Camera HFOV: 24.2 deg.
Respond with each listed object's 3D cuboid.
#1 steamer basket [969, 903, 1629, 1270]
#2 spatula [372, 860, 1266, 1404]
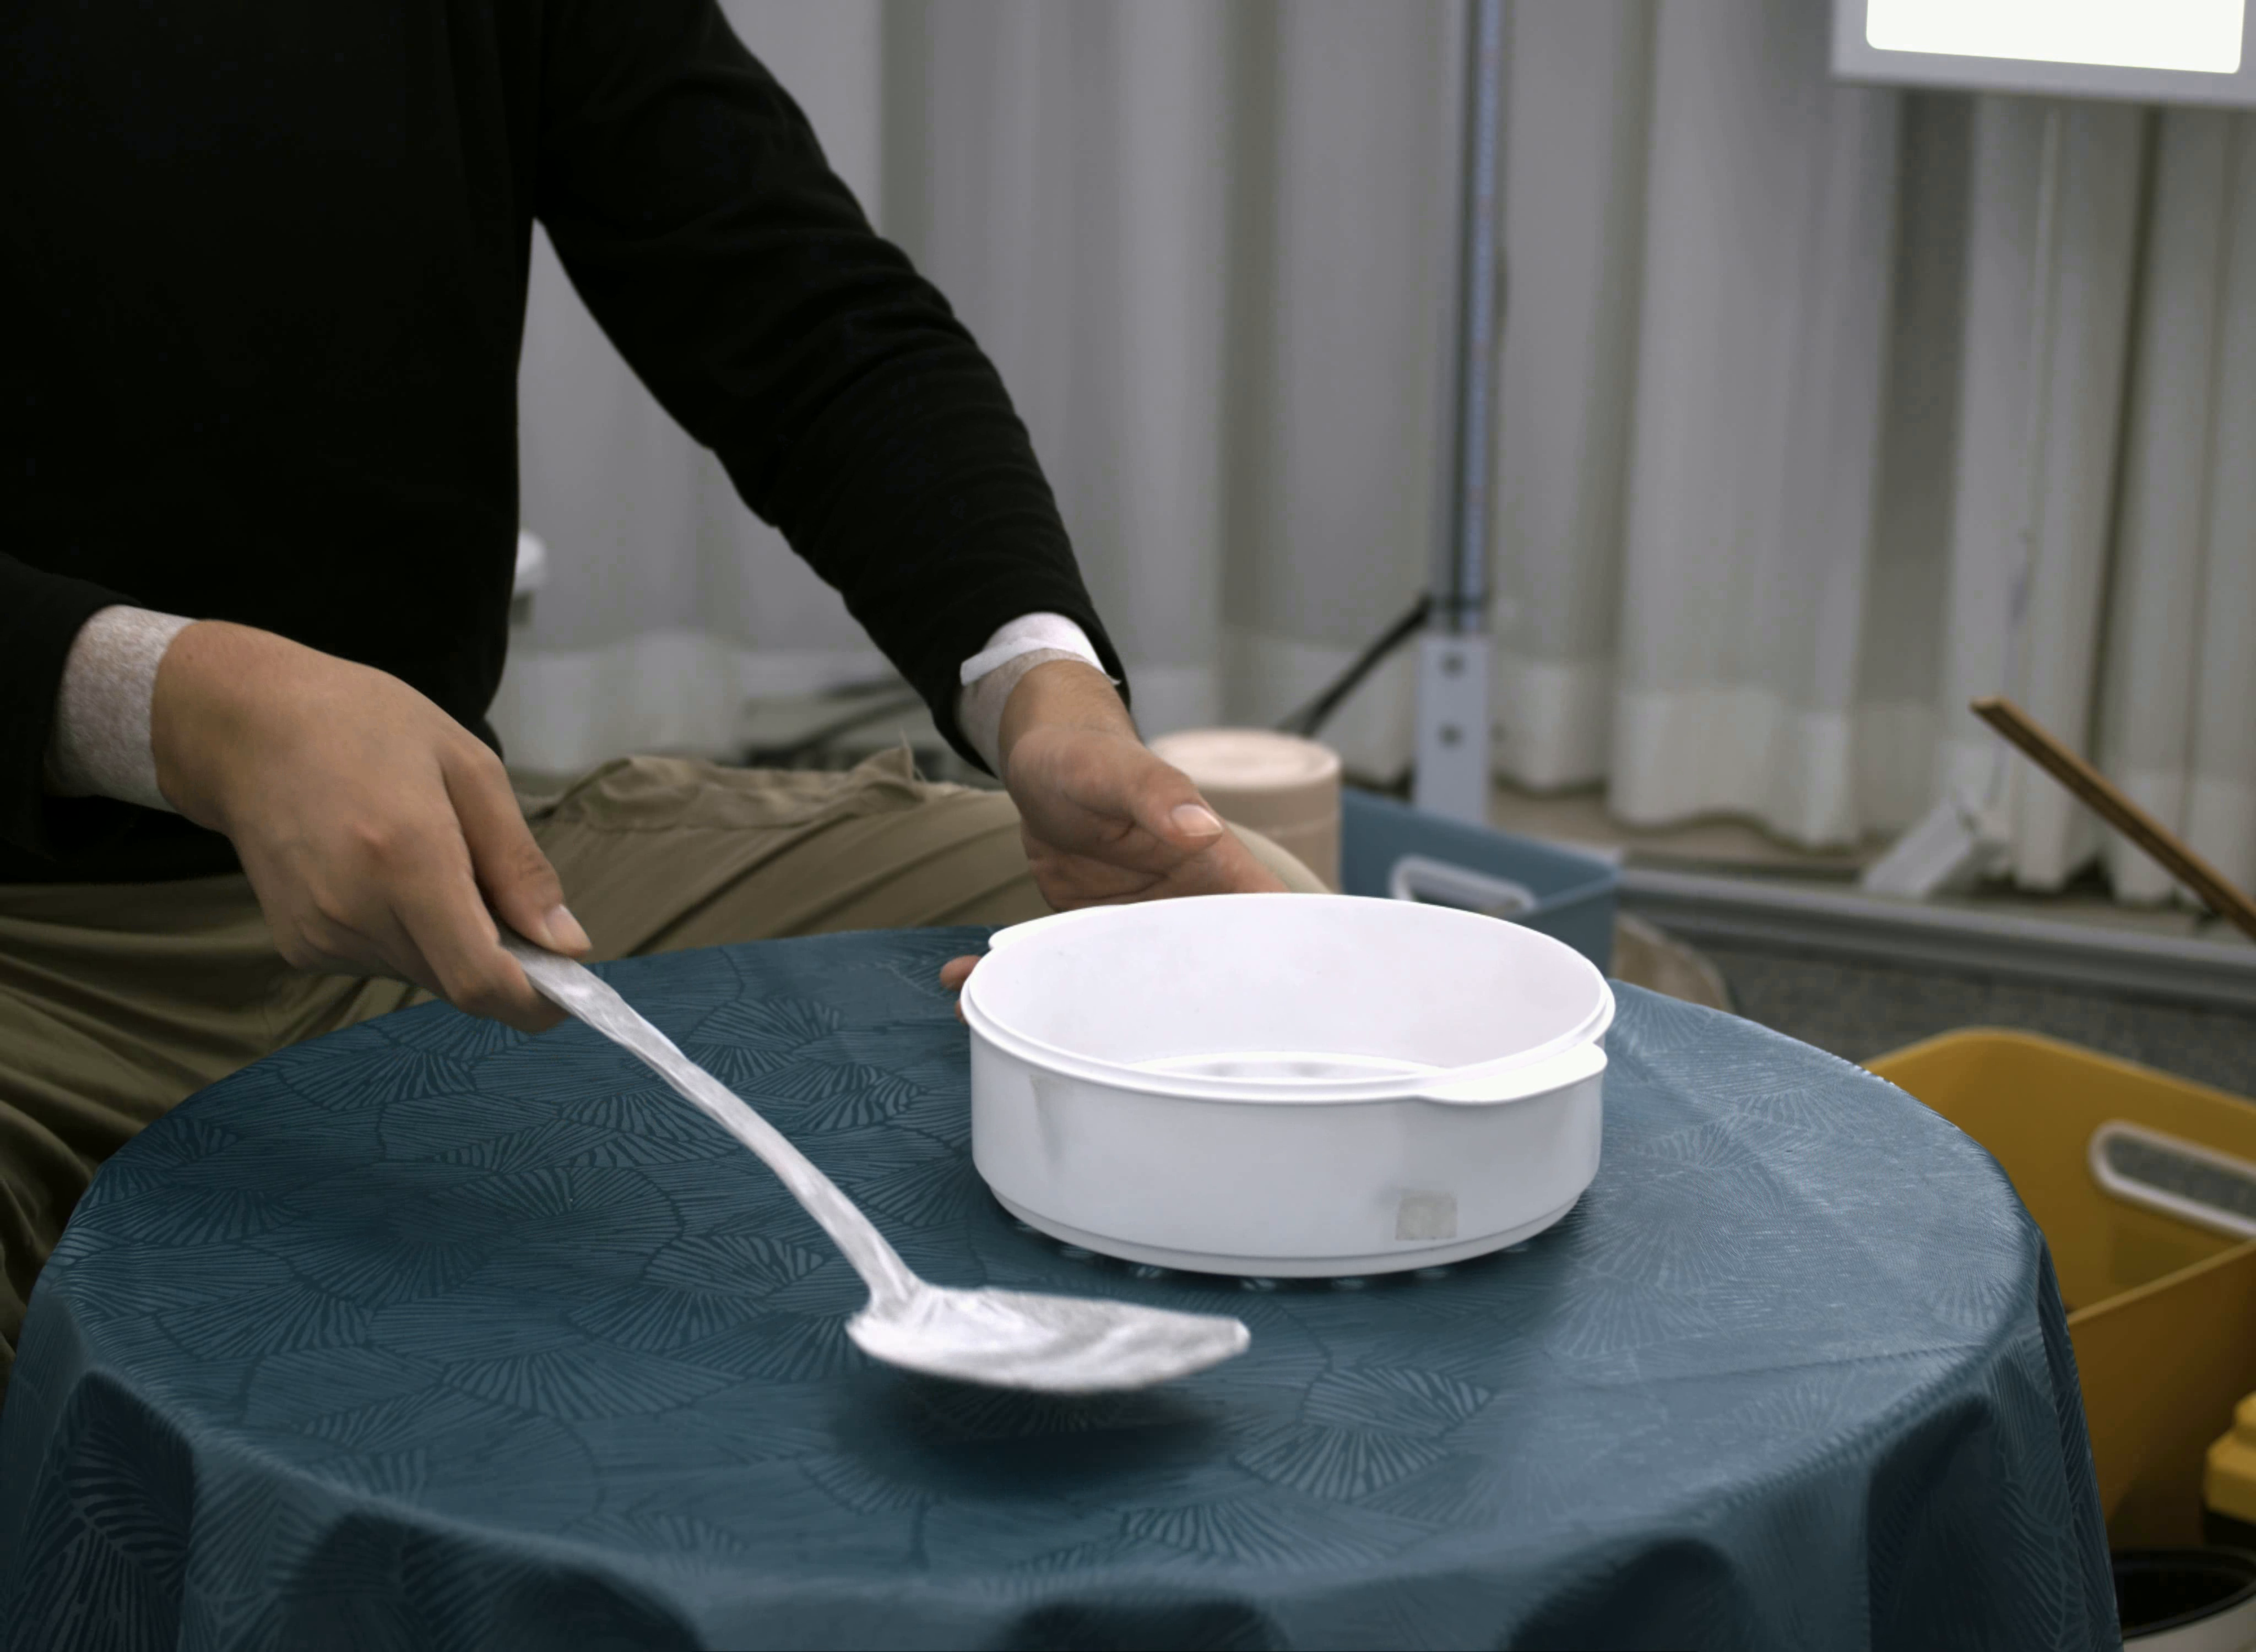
[{"bbox_3d":[0.052,0.079,1.611,0.203,0.070,0.227,-12,18,-40],"label":"steamer basket"},{"bbox_3d":[-0.111,0.079,1.507,0.099,0.045,0.360,-11,37,-45],"label":"spatula"}]
